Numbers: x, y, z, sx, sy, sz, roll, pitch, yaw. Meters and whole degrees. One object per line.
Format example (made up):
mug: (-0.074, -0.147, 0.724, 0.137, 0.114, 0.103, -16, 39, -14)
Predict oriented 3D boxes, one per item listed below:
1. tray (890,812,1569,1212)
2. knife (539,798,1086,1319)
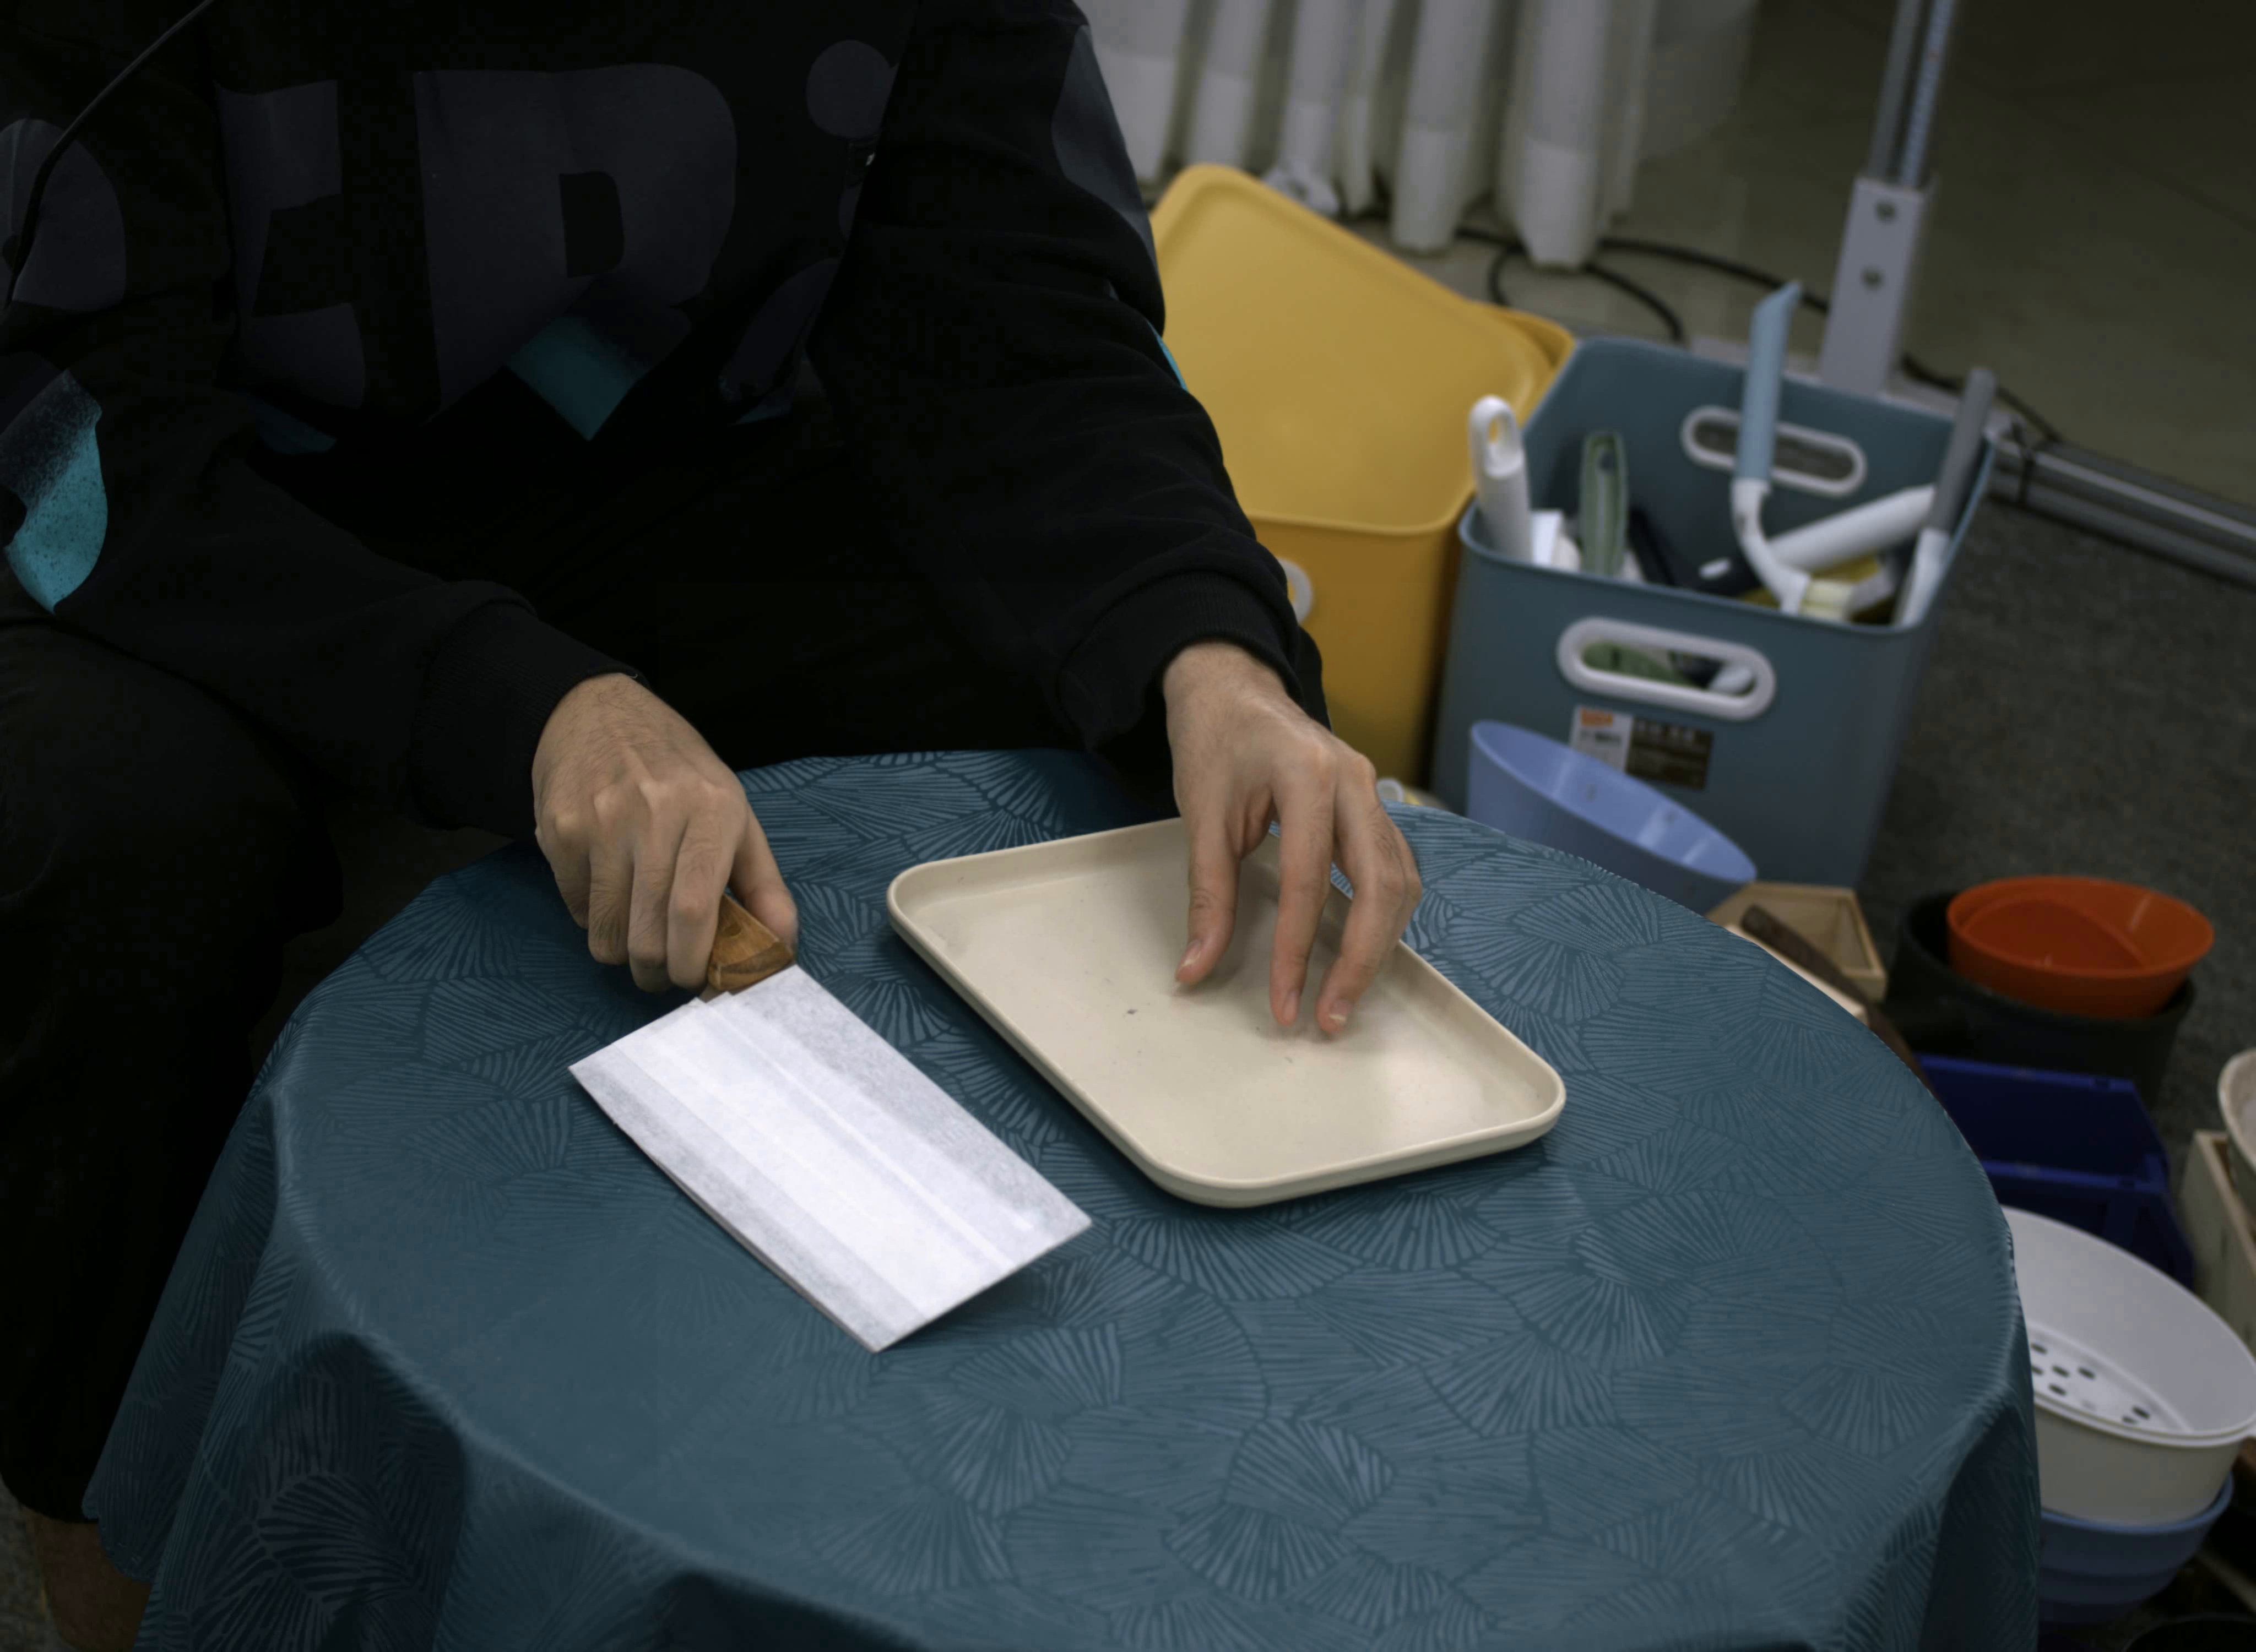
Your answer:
tray: (0.033, 0.065, 1.903, 0.170, 0.017, 0.242, -11, 32, -28)
knife: (-0.134, 0.079, 1.818, 0.092, 0.021, 0.308, -29, 42, -22)
